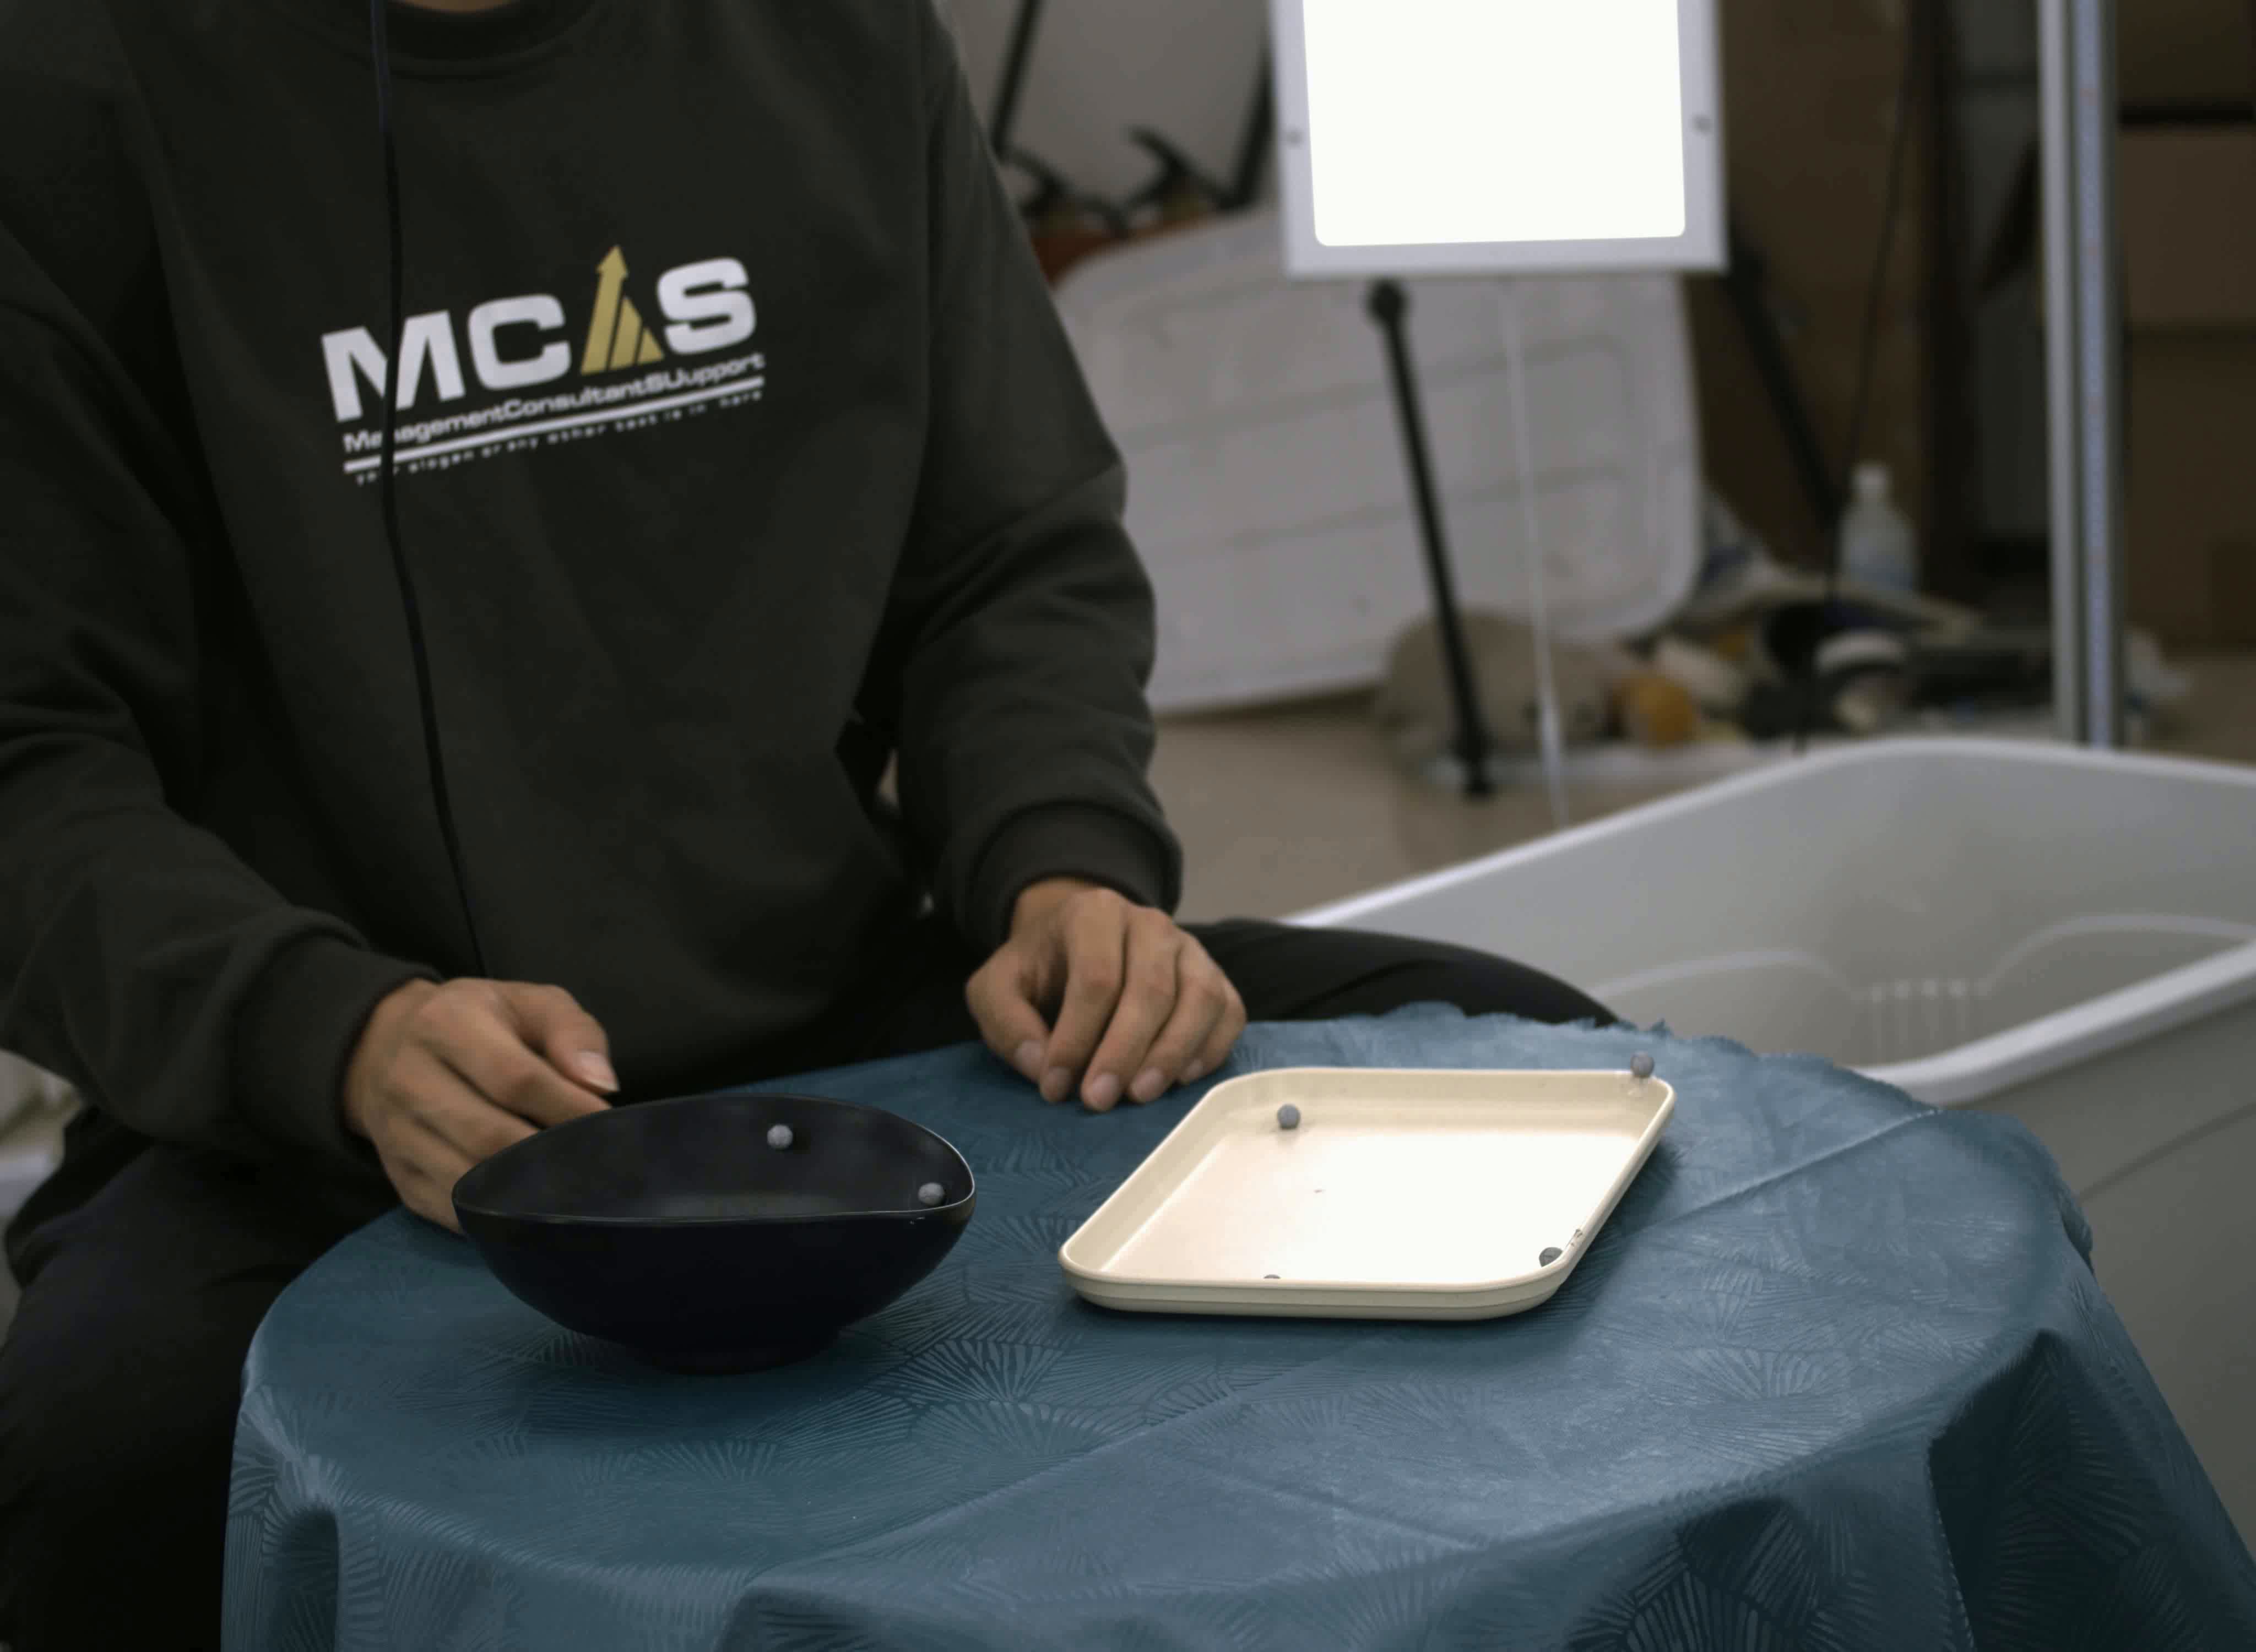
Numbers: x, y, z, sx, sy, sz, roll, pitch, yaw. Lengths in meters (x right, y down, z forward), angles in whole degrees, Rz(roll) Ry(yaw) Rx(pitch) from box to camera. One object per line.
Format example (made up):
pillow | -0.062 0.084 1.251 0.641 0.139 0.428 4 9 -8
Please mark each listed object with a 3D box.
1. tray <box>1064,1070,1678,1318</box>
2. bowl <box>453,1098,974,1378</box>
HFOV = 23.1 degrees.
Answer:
tray | 0.086 0.123 1.848 0.173 0.017 0.236 -1 14 19
bowl | -0.131 0.136 1.774 0.171 0.067 0.136 -1 15 11
